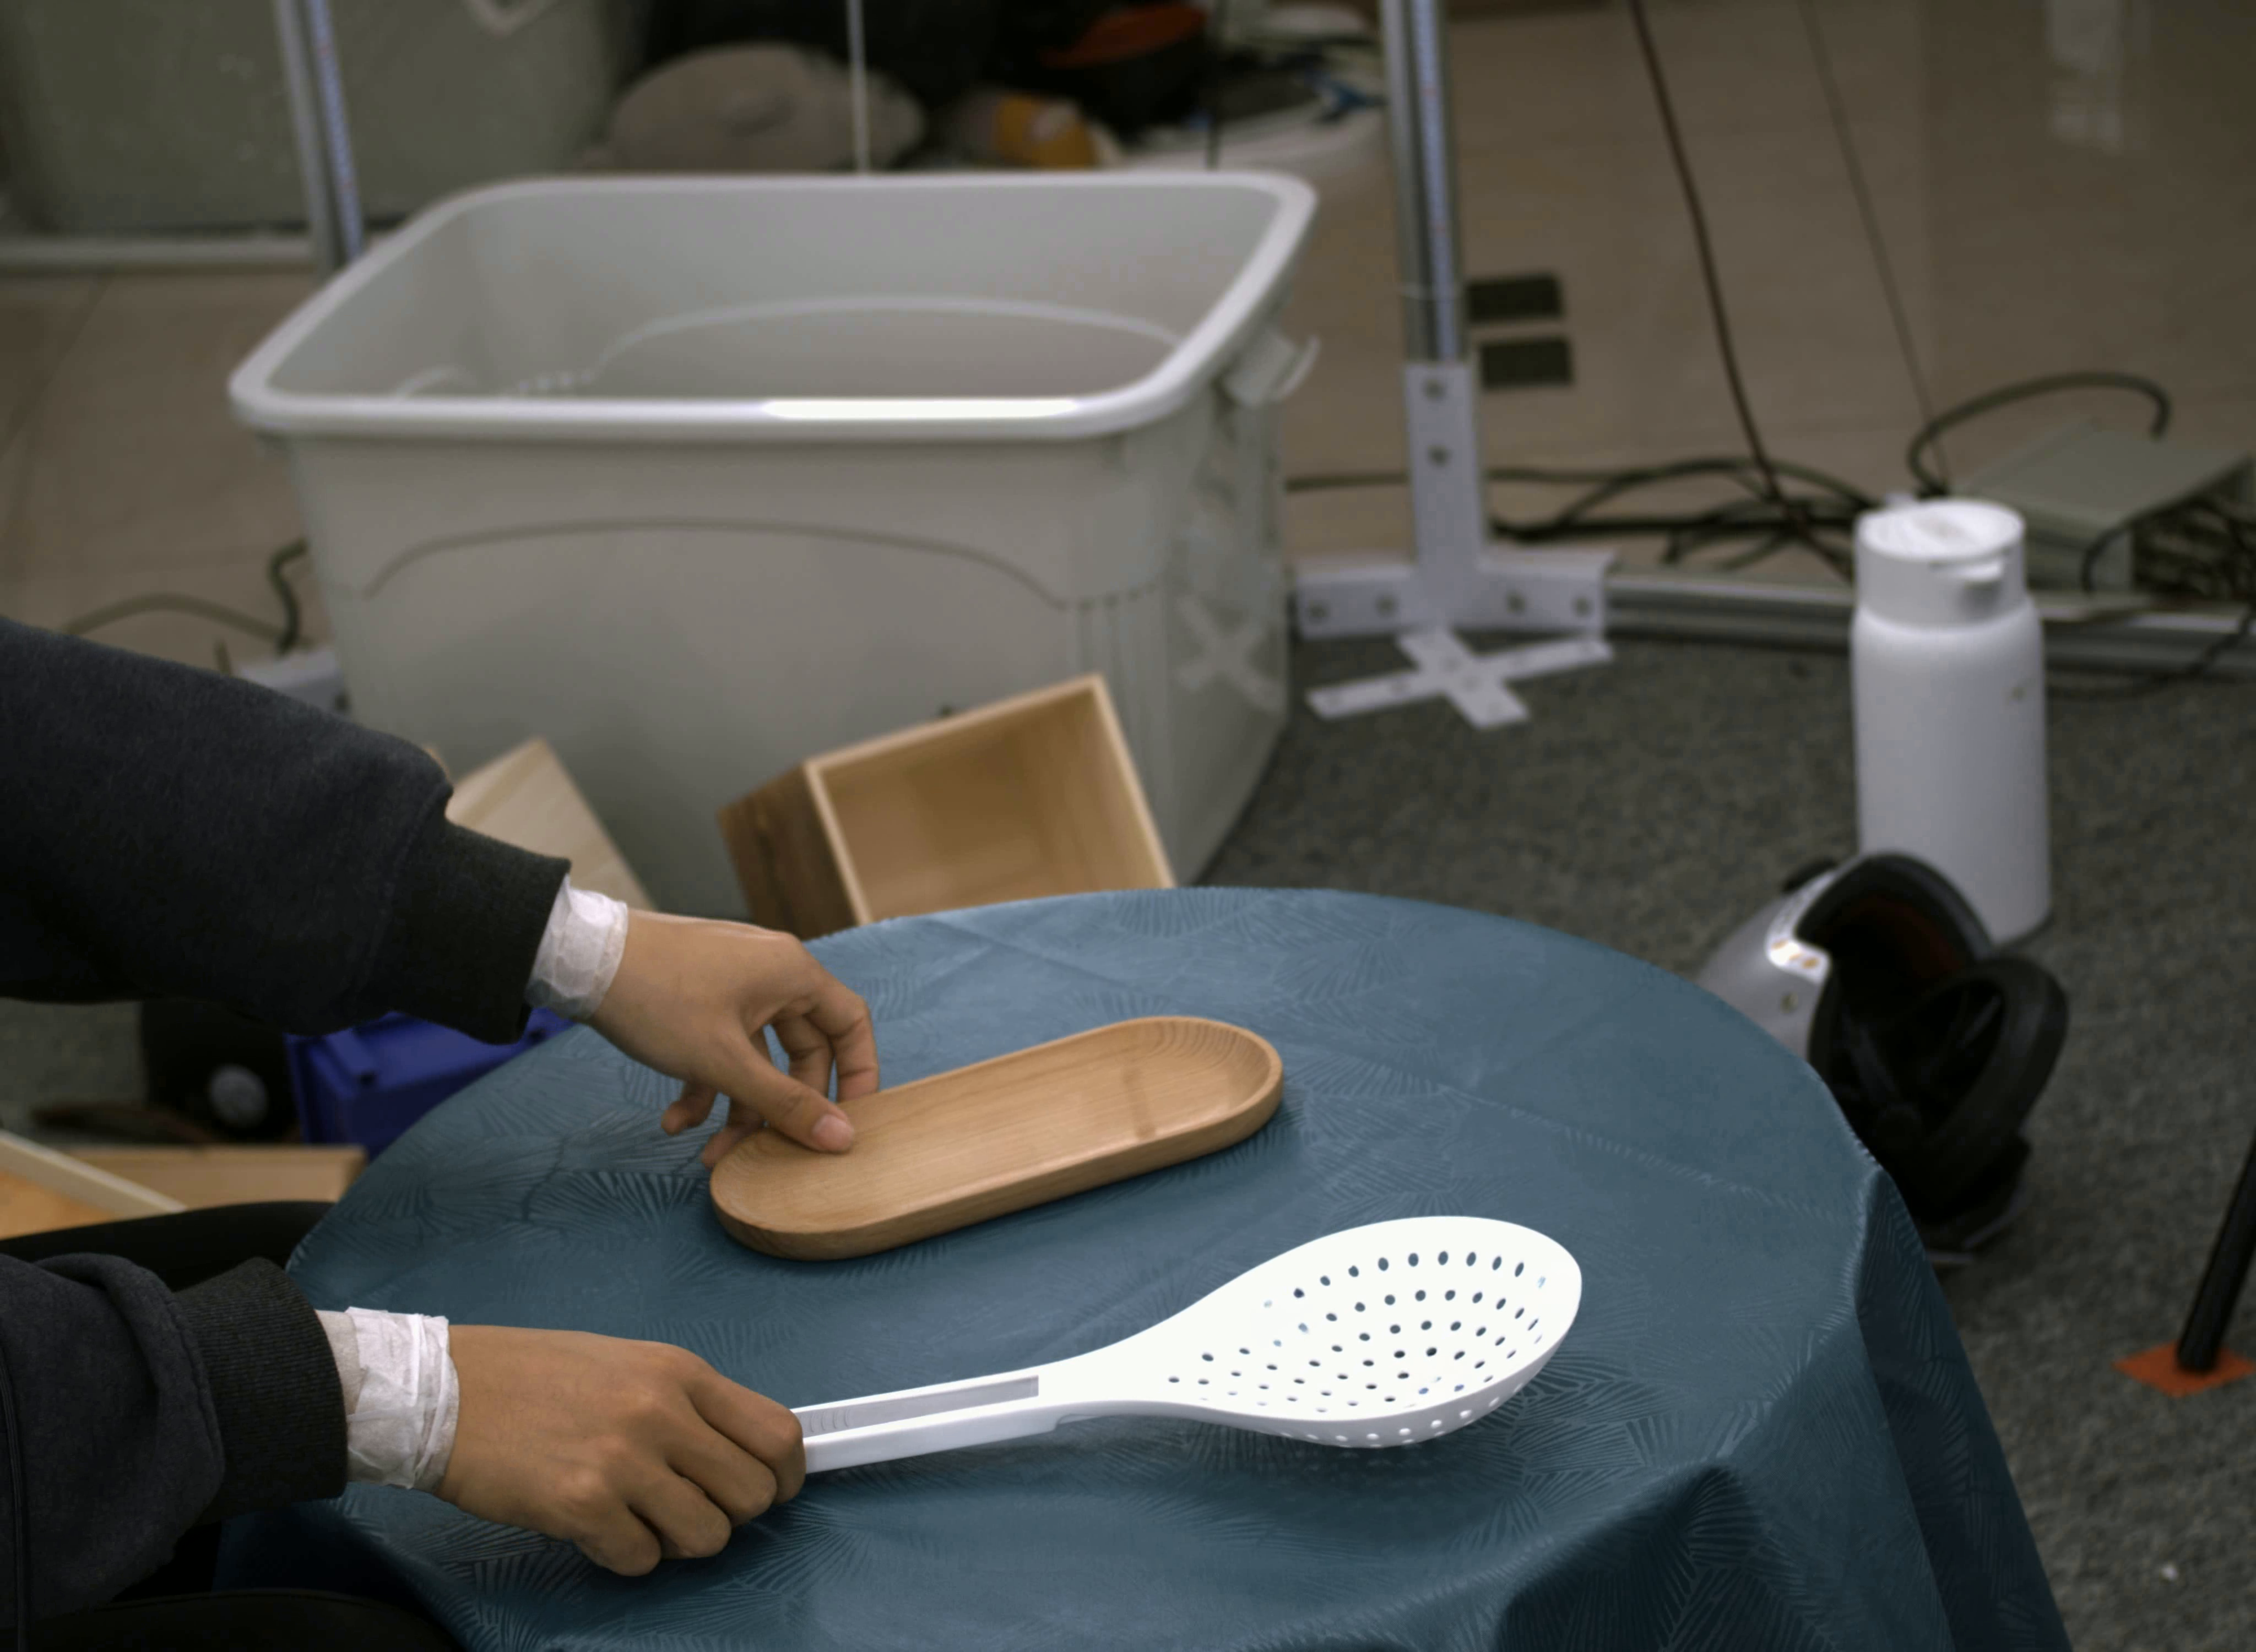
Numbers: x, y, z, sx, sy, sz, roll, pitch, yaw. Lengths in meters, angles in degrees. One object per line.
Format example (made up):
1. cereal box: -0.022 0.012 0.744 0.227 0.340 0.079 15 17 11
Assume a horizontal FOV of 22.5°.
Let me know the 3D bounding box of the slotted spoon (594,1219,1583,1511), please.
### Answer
1. slotted spoon: -0.014 0.196 1.973 0.349 0.046 0.134 -7 23 2

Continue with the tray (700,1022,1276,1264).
1. tray: -0.052 0.121 2.178 0.230 0.020 0.100 -16 26 -18
